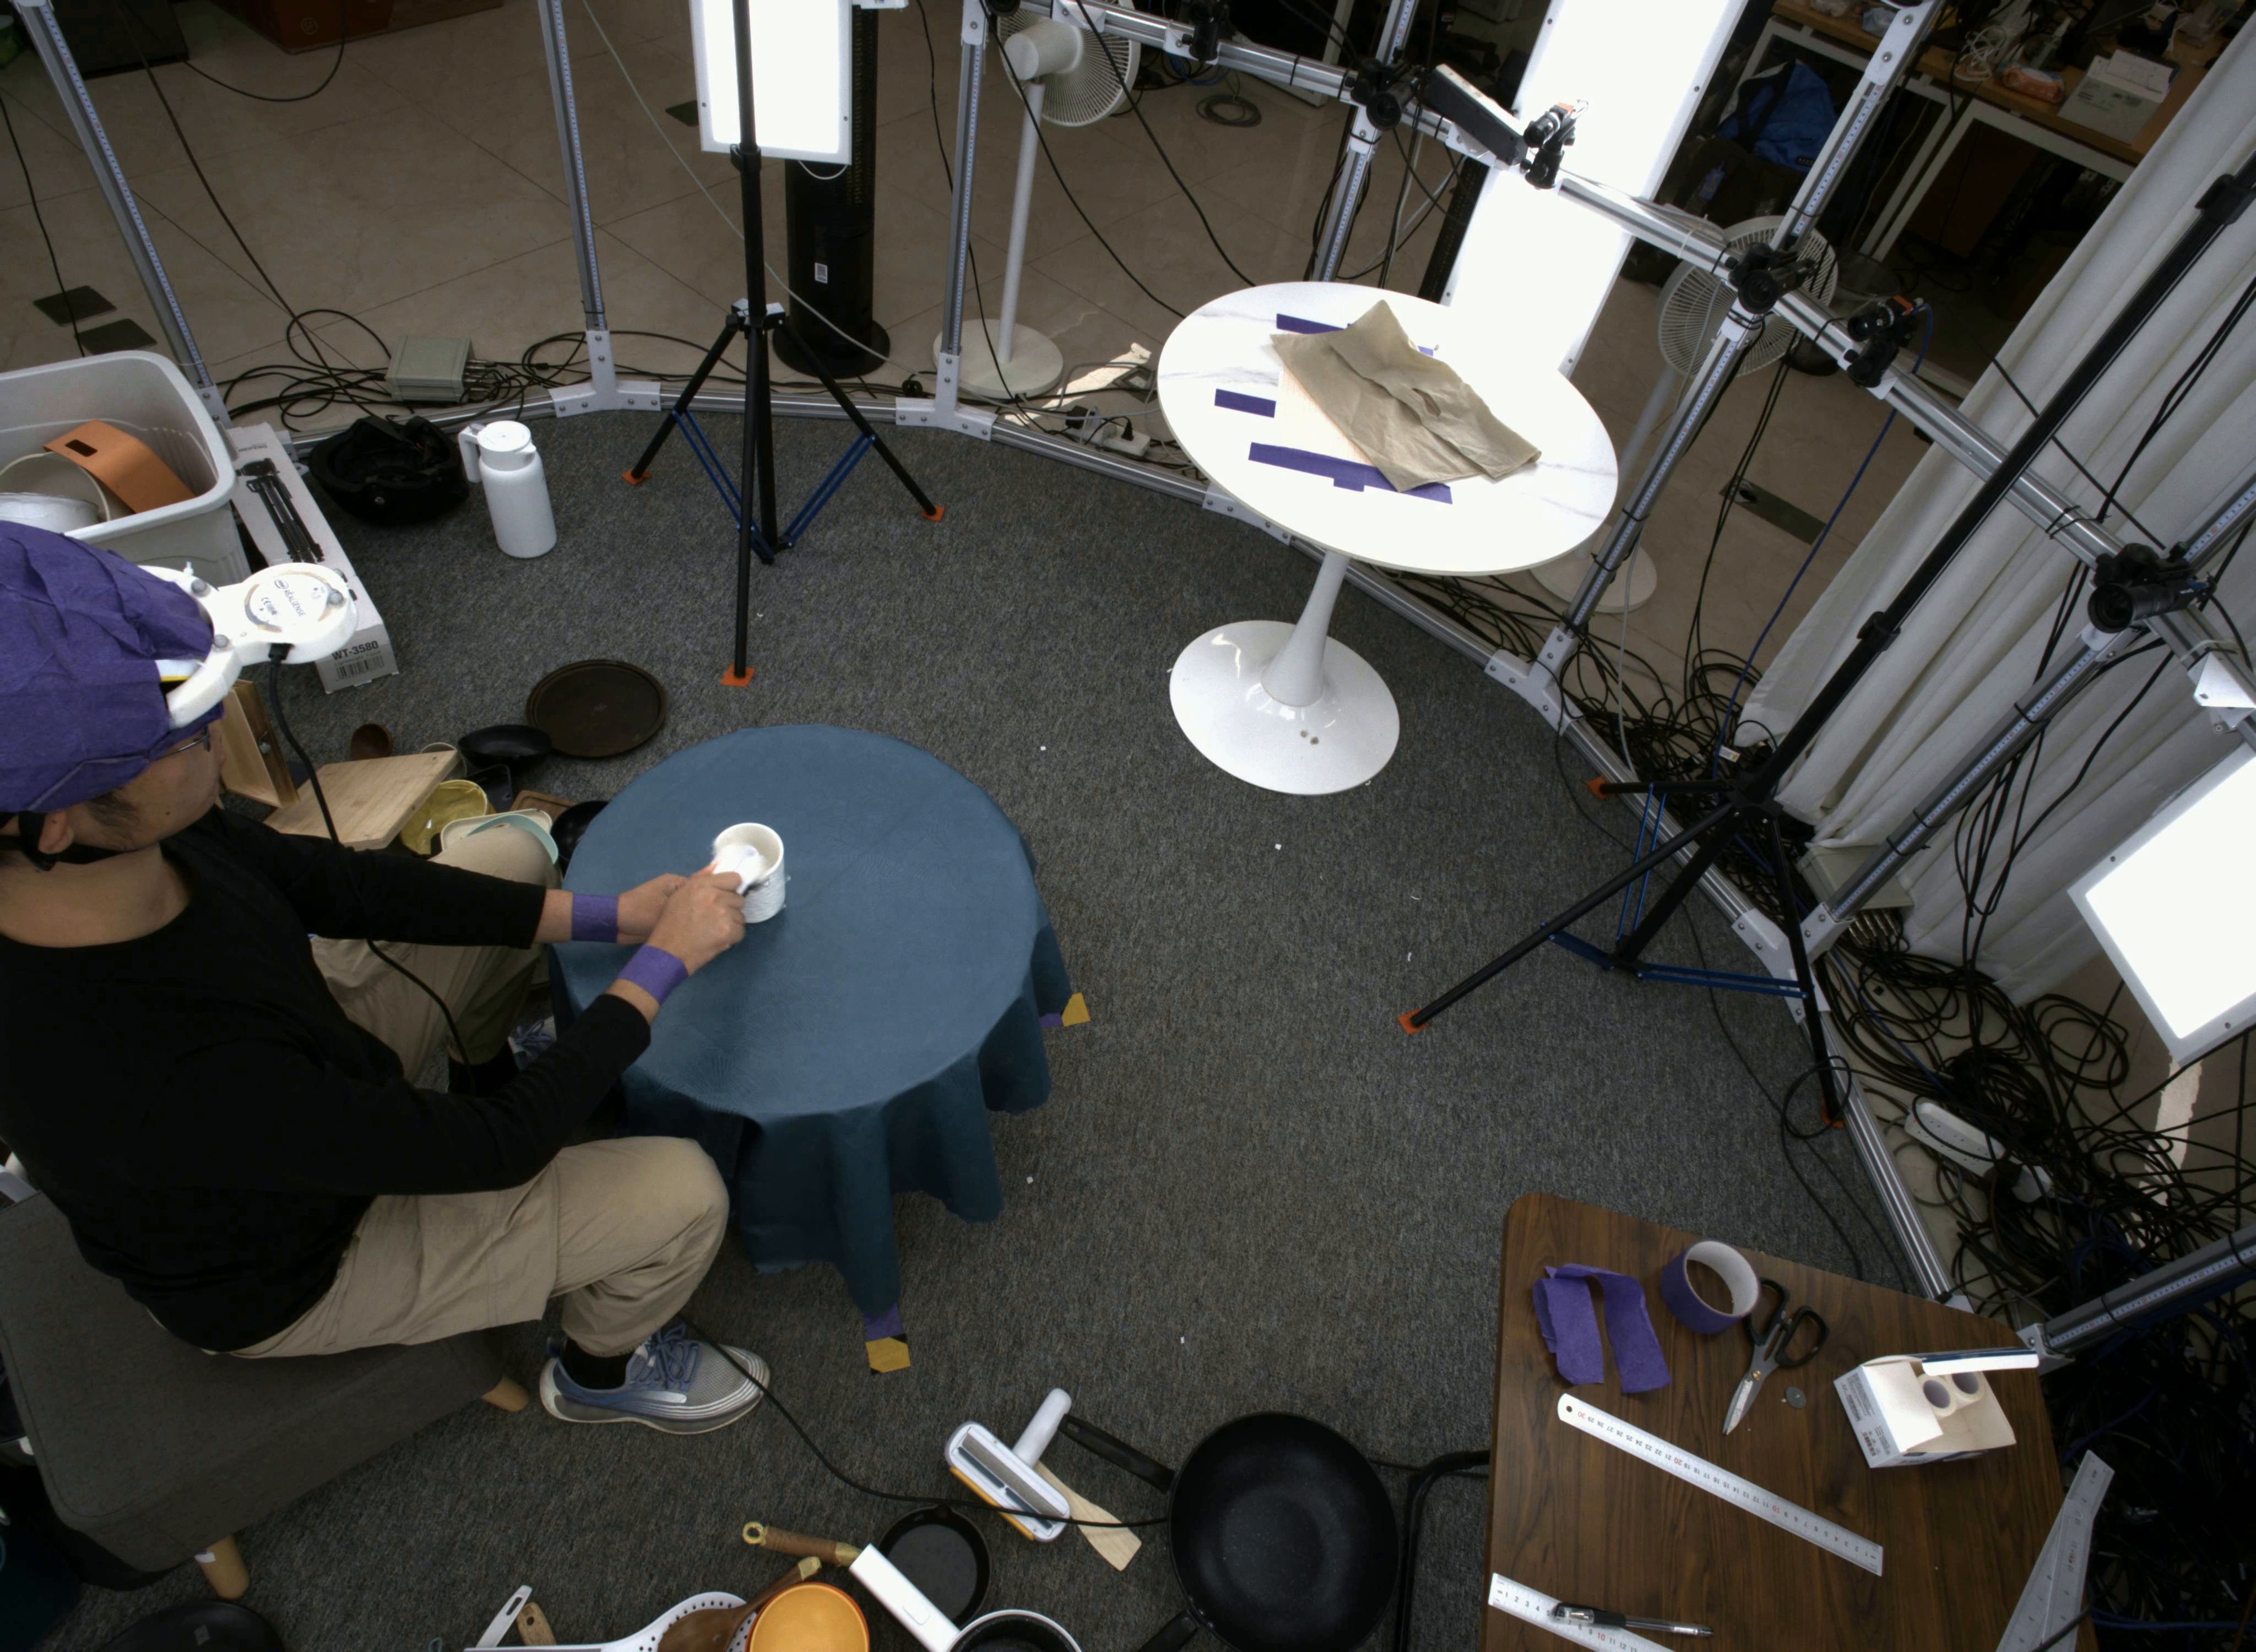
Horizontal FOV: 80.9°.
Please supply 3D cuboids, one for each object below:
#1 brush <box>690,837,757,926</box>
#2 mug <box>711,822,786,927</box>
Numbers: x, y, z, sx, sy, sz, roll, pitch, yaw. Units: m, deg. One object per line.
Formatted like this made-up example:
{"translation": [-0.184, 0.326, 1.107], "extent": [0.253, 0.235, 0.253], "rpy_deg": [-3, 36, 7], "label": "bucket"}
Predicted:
{"translation": [-0.467, 0.057, 1.485], "extent": [0.050, 0.073, 0.099], "rpy_deg": [25, 65, 0], "label": "brush"}
{"translation": [-0.473, 0.070, 1.596], "extent": [0.084, 0.104, 0.117], "rpy_deg": [16, 51, 0], "label": "mug"}
